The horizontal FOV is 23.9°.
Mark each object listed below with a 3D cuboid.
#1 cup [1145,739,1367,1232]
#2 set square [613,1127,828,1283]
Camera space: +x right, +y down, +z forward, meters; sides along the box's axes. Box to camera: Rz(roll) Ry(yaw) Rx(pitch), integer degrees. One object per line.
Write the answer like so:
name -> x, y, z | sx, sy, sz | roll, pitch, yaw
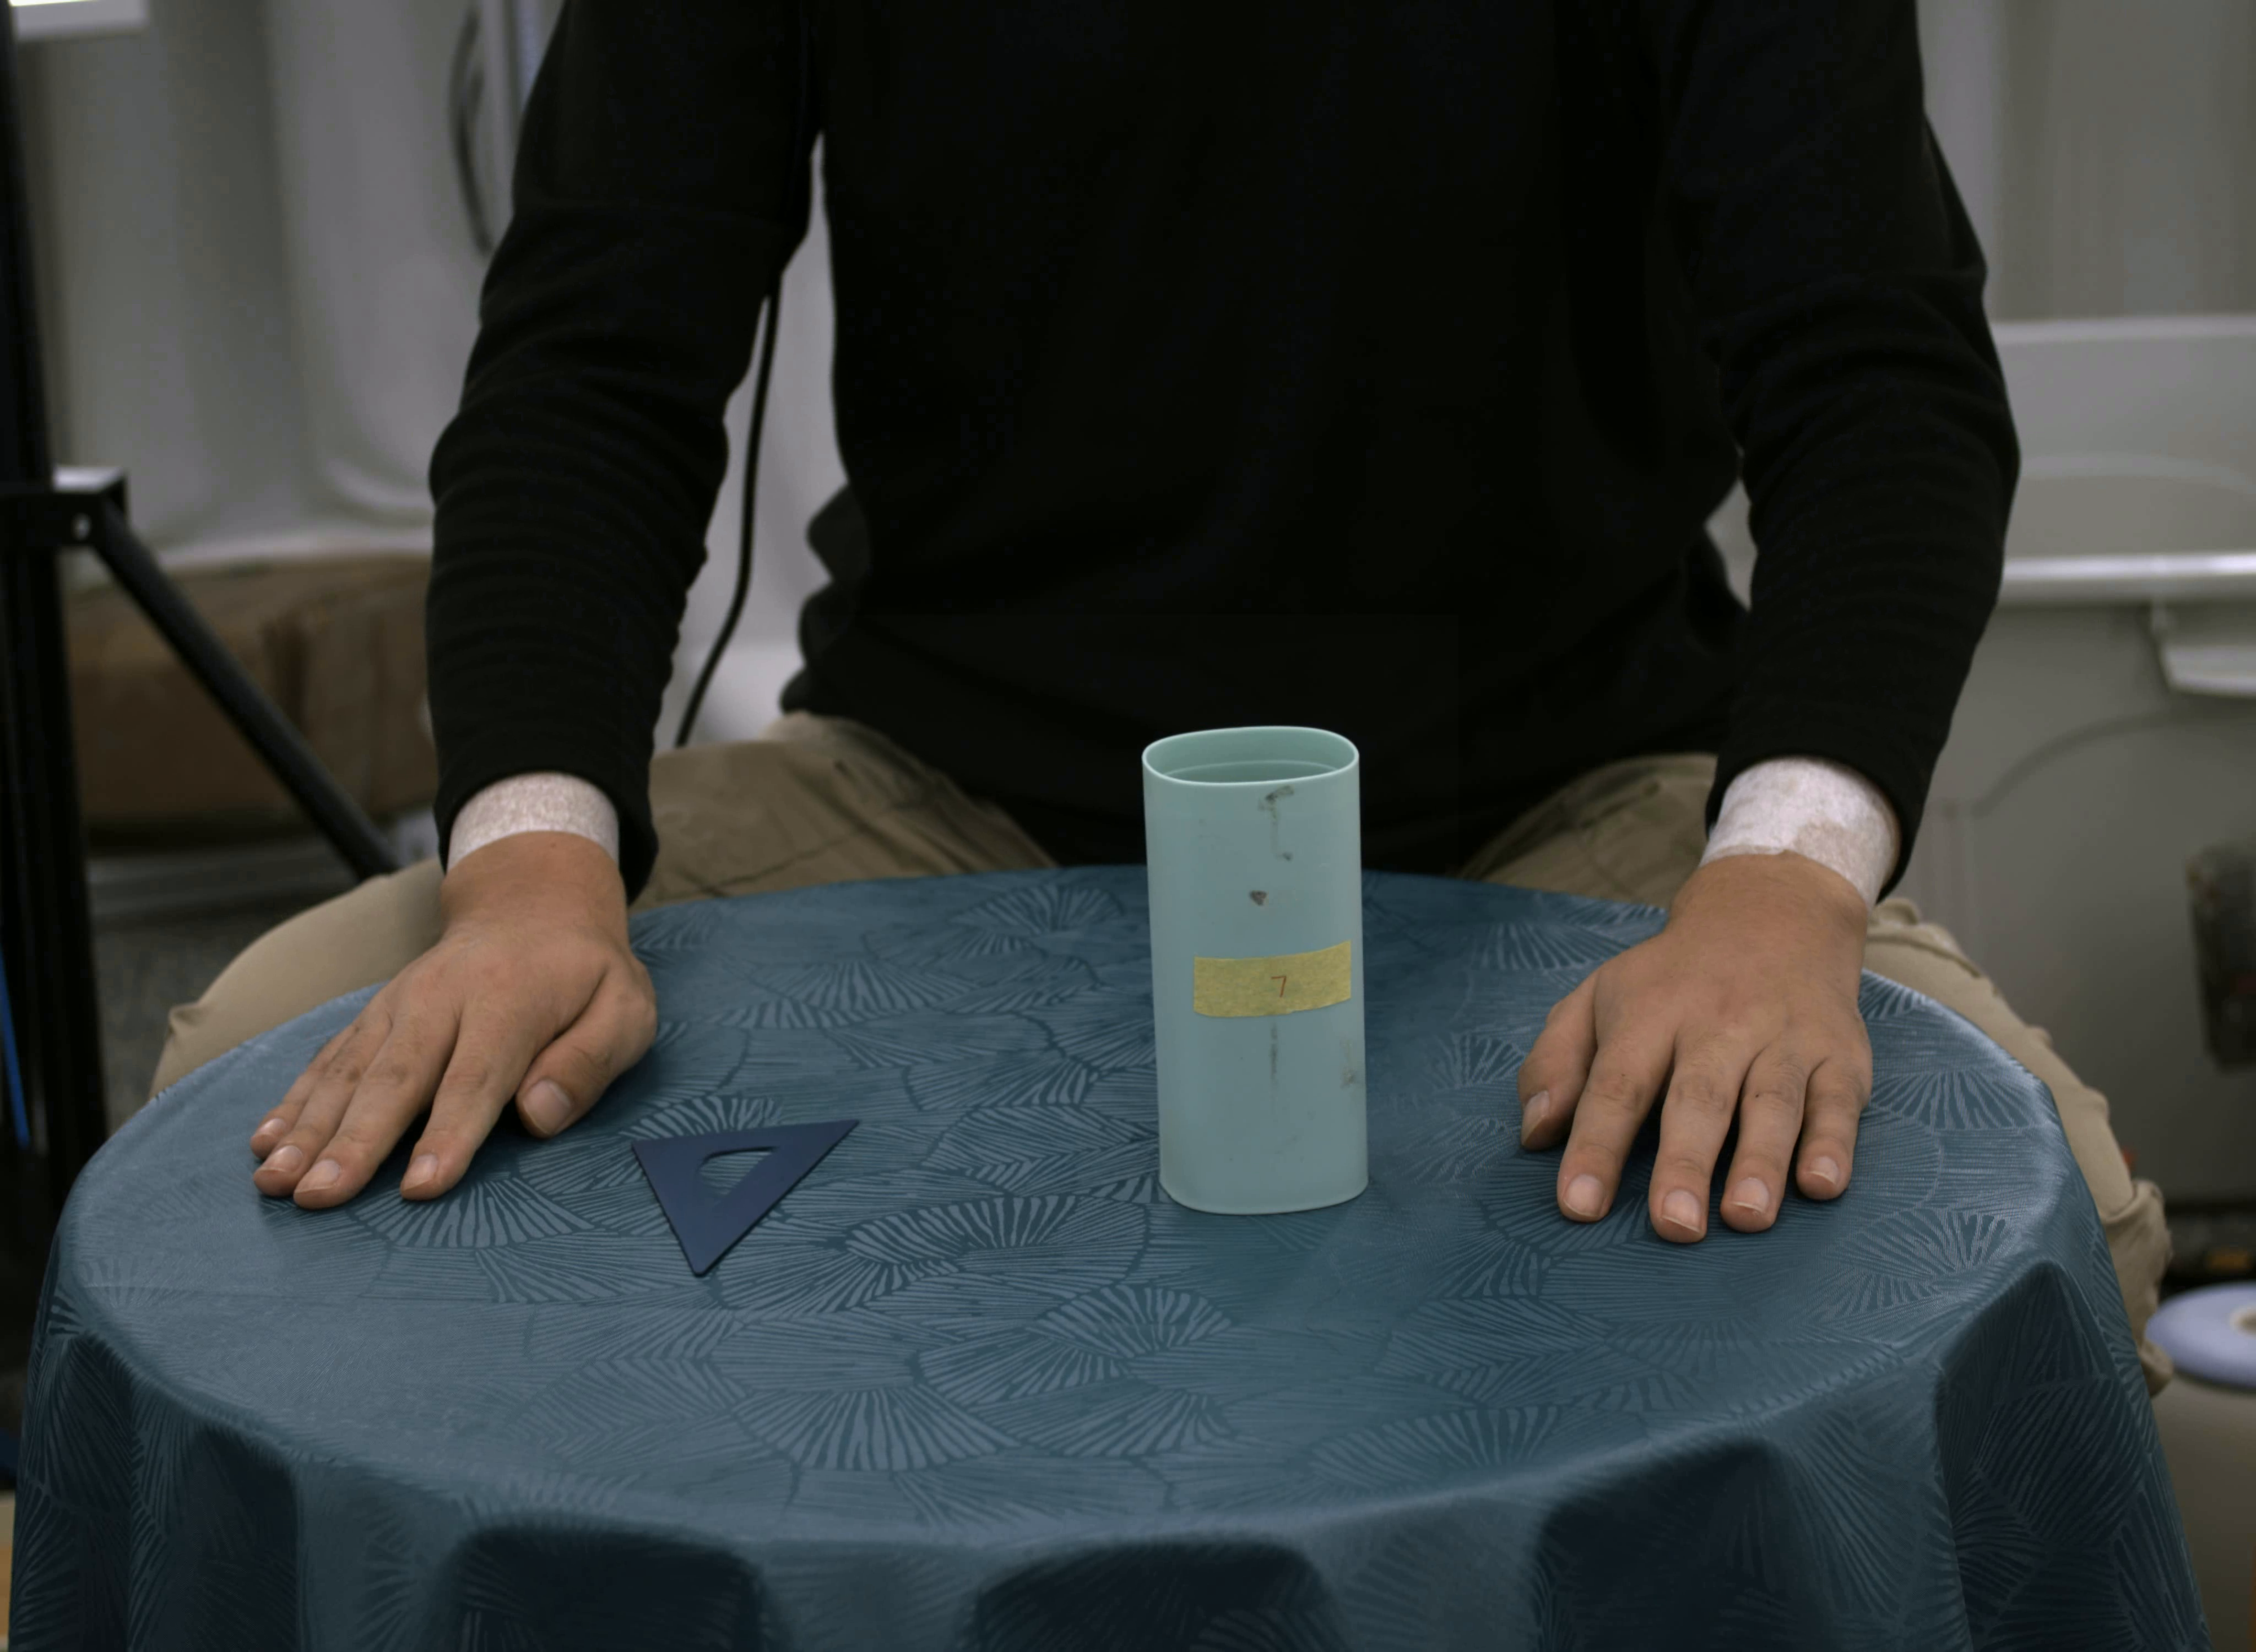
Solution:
cup -> 0.038, 0.045, 1.547 | 0.066, 0.132, 0.067 | -3, 15, -1
set square -> -0.139, 0.108, 1.571 | 0.062, 0.006, 0.130 | 4, 17, 20
